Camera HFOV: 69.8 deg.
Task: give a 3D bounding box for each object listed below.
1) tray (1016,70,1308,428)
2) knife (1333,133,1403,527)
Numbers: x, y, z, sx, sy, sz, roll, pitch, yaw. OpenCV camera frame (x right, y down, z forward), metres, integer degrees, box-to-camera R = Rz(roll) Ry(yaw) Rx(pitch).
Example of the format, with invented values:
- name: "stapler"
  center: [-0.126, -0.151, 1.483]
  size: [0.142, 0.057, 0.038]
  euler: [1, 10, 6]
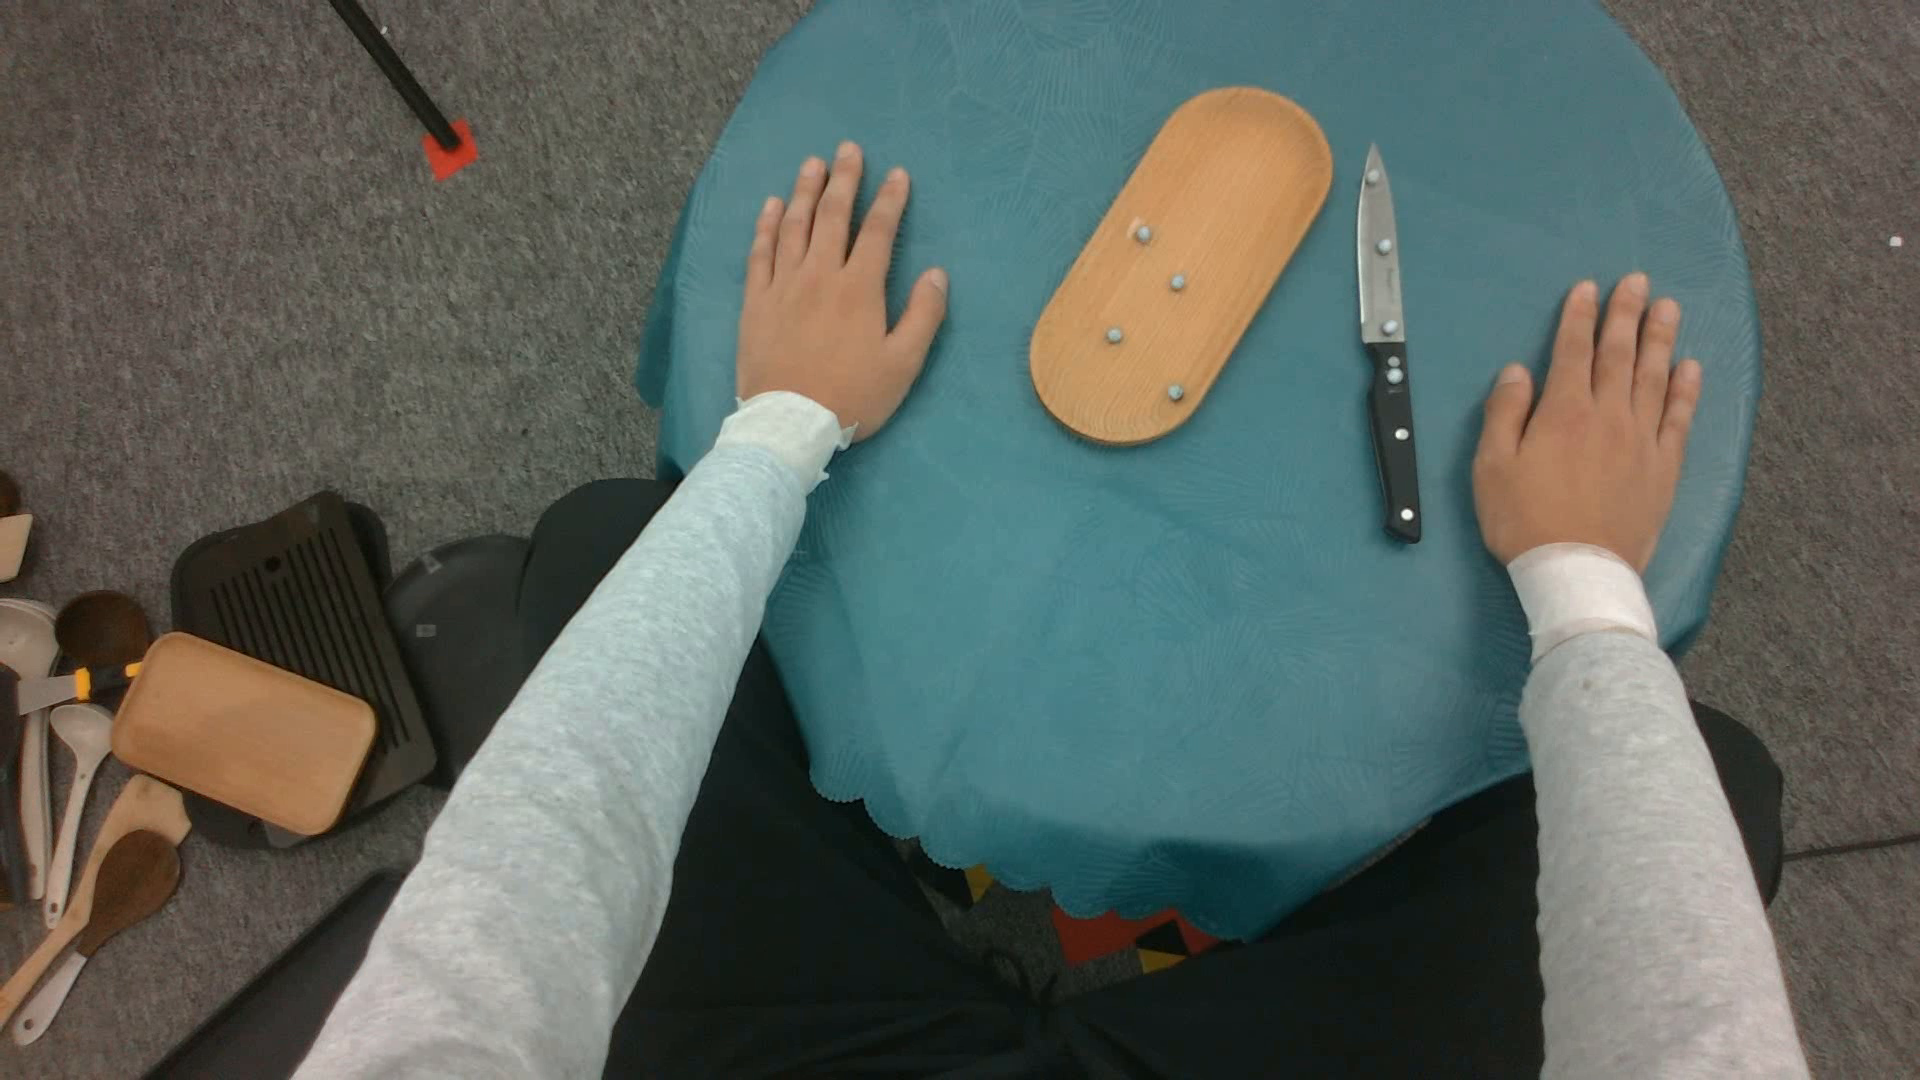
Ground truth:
- name: "tray"
  center: [0.114, -0.164, 0.769]
  size: [0.101, 0.020, 0.232]
  euler: [28, 76, 9]
- name: "knife"
  center: [0.223, -0.121, 0.754]
  size: [0.024, 0.016, 0.239]
  euler: [-1, 72, 4]
